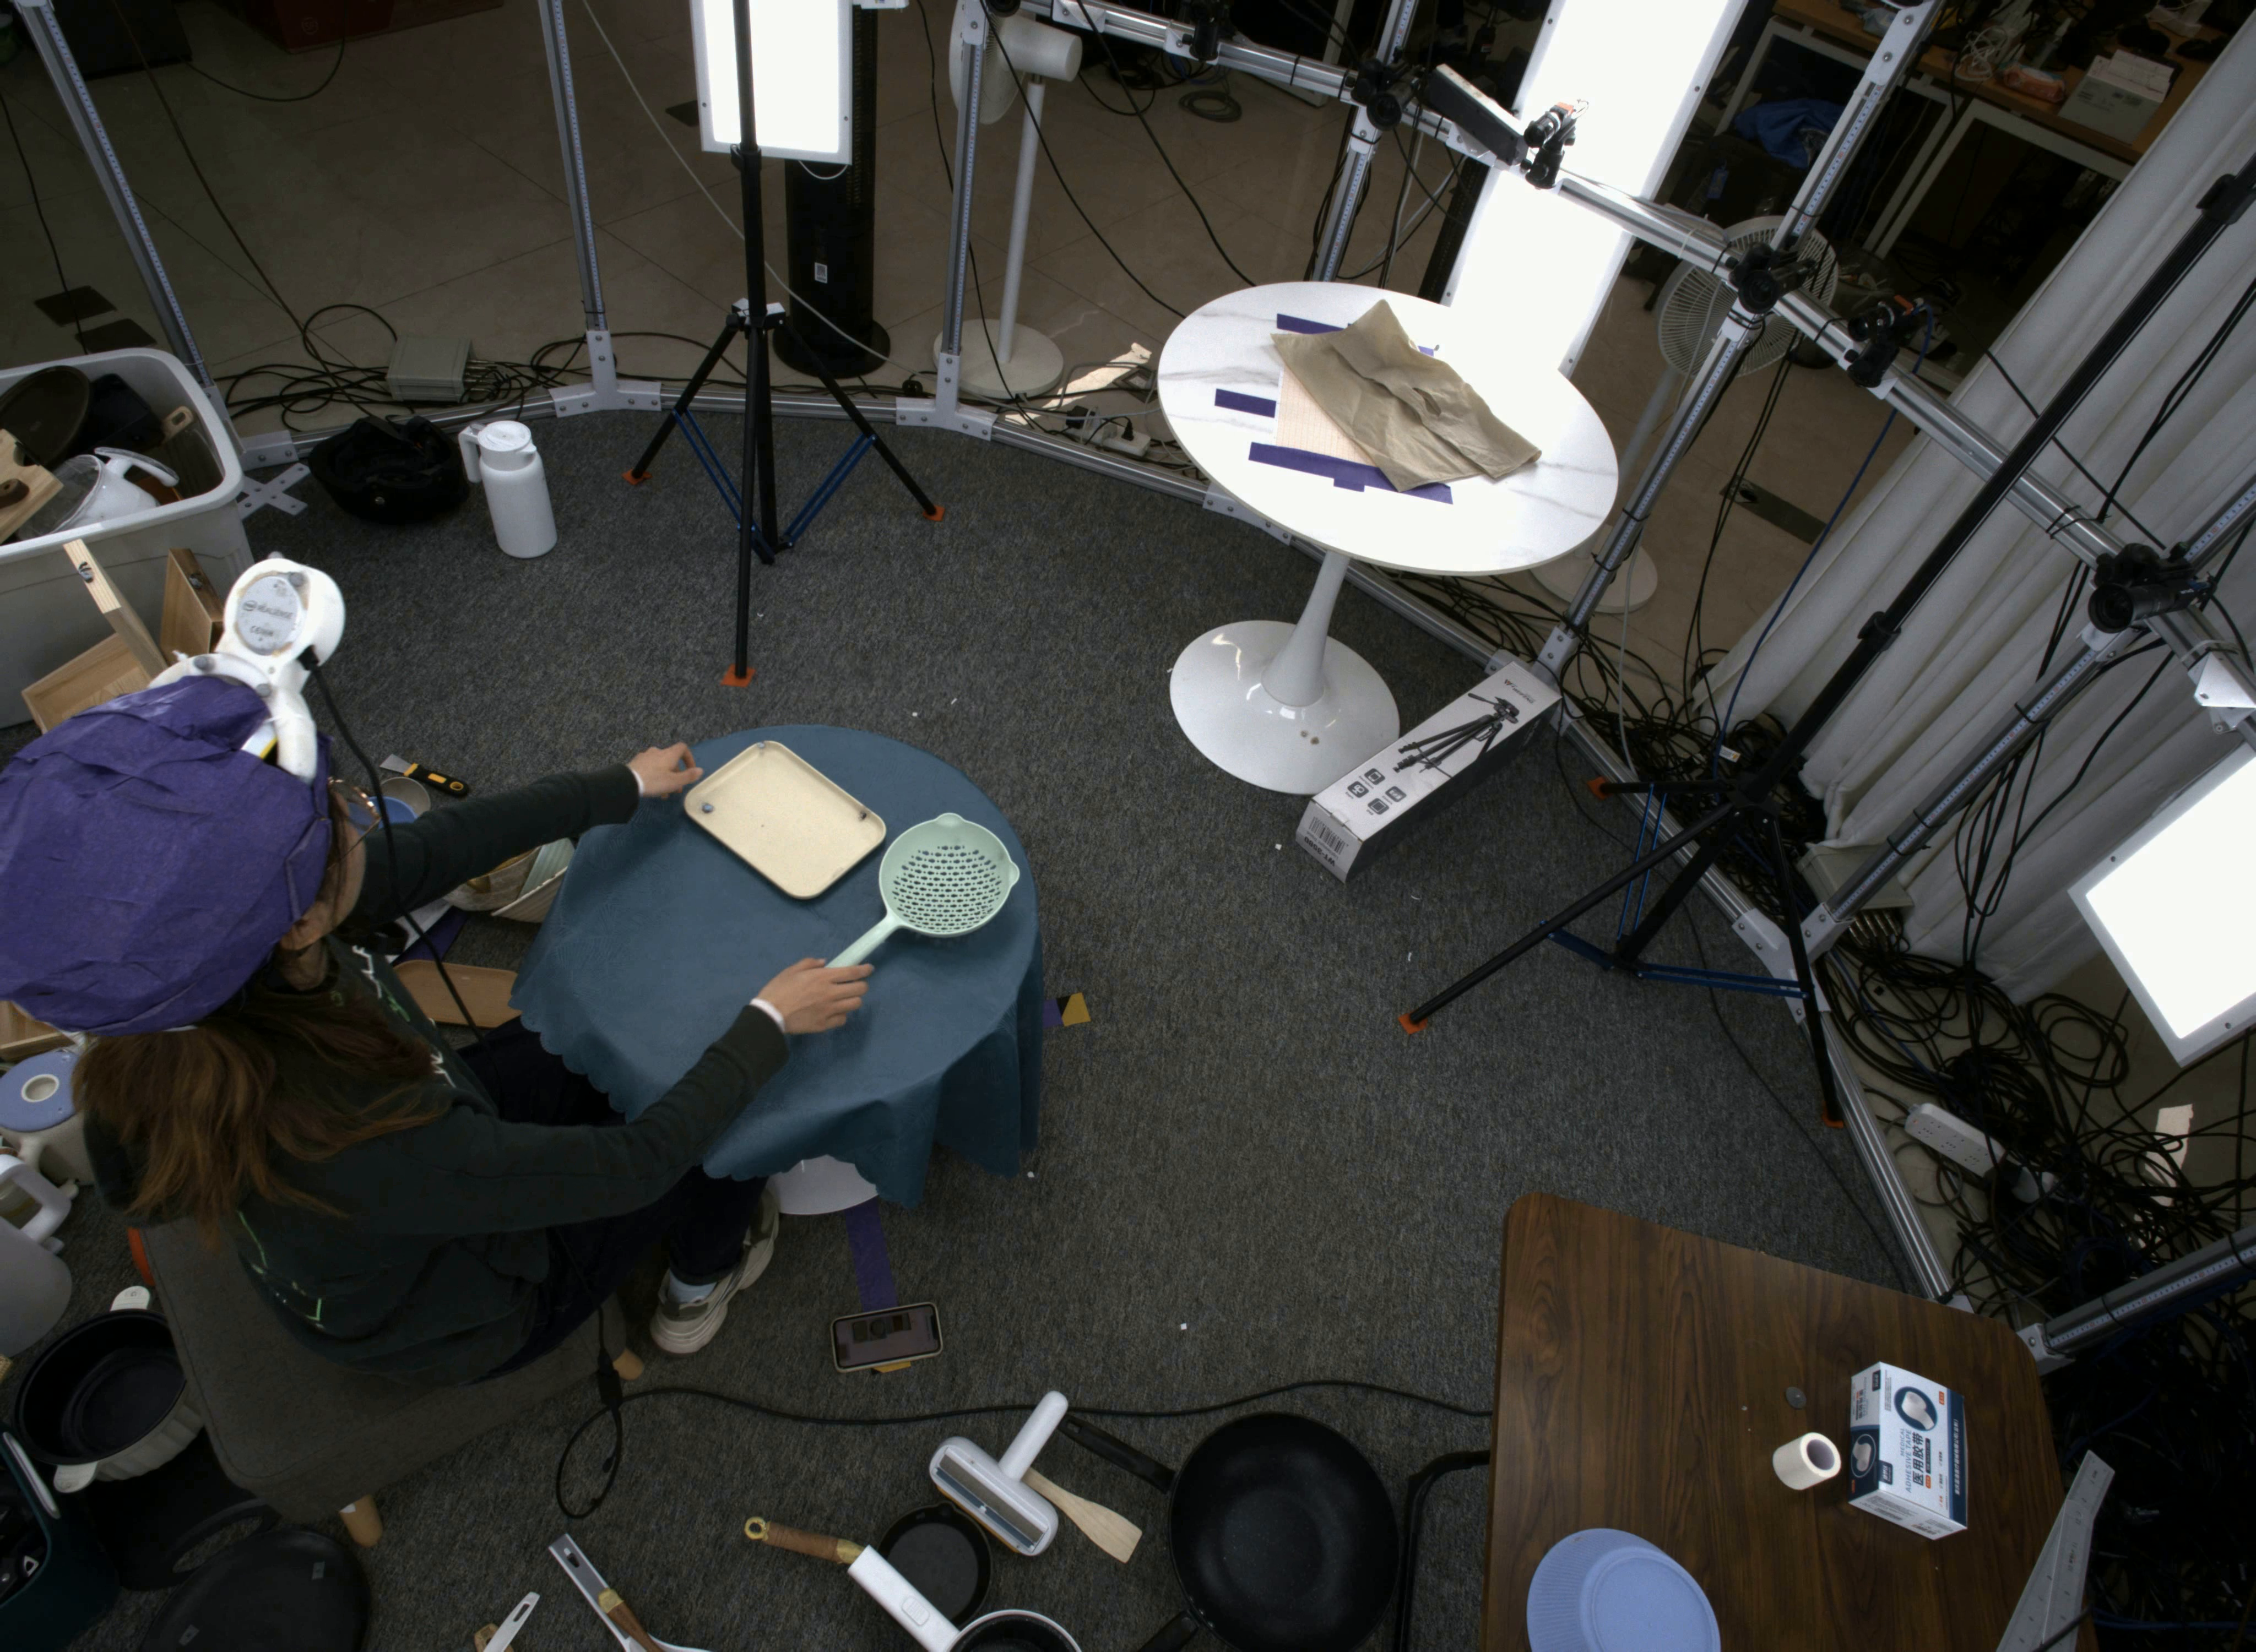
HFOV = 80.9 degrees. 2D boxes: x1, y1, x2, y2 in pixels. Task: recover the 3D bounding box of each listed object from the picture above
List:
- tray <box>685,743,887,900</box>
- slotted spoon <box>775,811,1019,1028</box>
[{"bbox_3d":[-0.453,-0.008,1.718,0.235,0.018,0.171,34,53,13],"label":"tray"},{"bbox_3d":[-0.299,0.124,1.628,0.165,0.077,0.359,40,55,17],"label":"slotted spoon"}]
